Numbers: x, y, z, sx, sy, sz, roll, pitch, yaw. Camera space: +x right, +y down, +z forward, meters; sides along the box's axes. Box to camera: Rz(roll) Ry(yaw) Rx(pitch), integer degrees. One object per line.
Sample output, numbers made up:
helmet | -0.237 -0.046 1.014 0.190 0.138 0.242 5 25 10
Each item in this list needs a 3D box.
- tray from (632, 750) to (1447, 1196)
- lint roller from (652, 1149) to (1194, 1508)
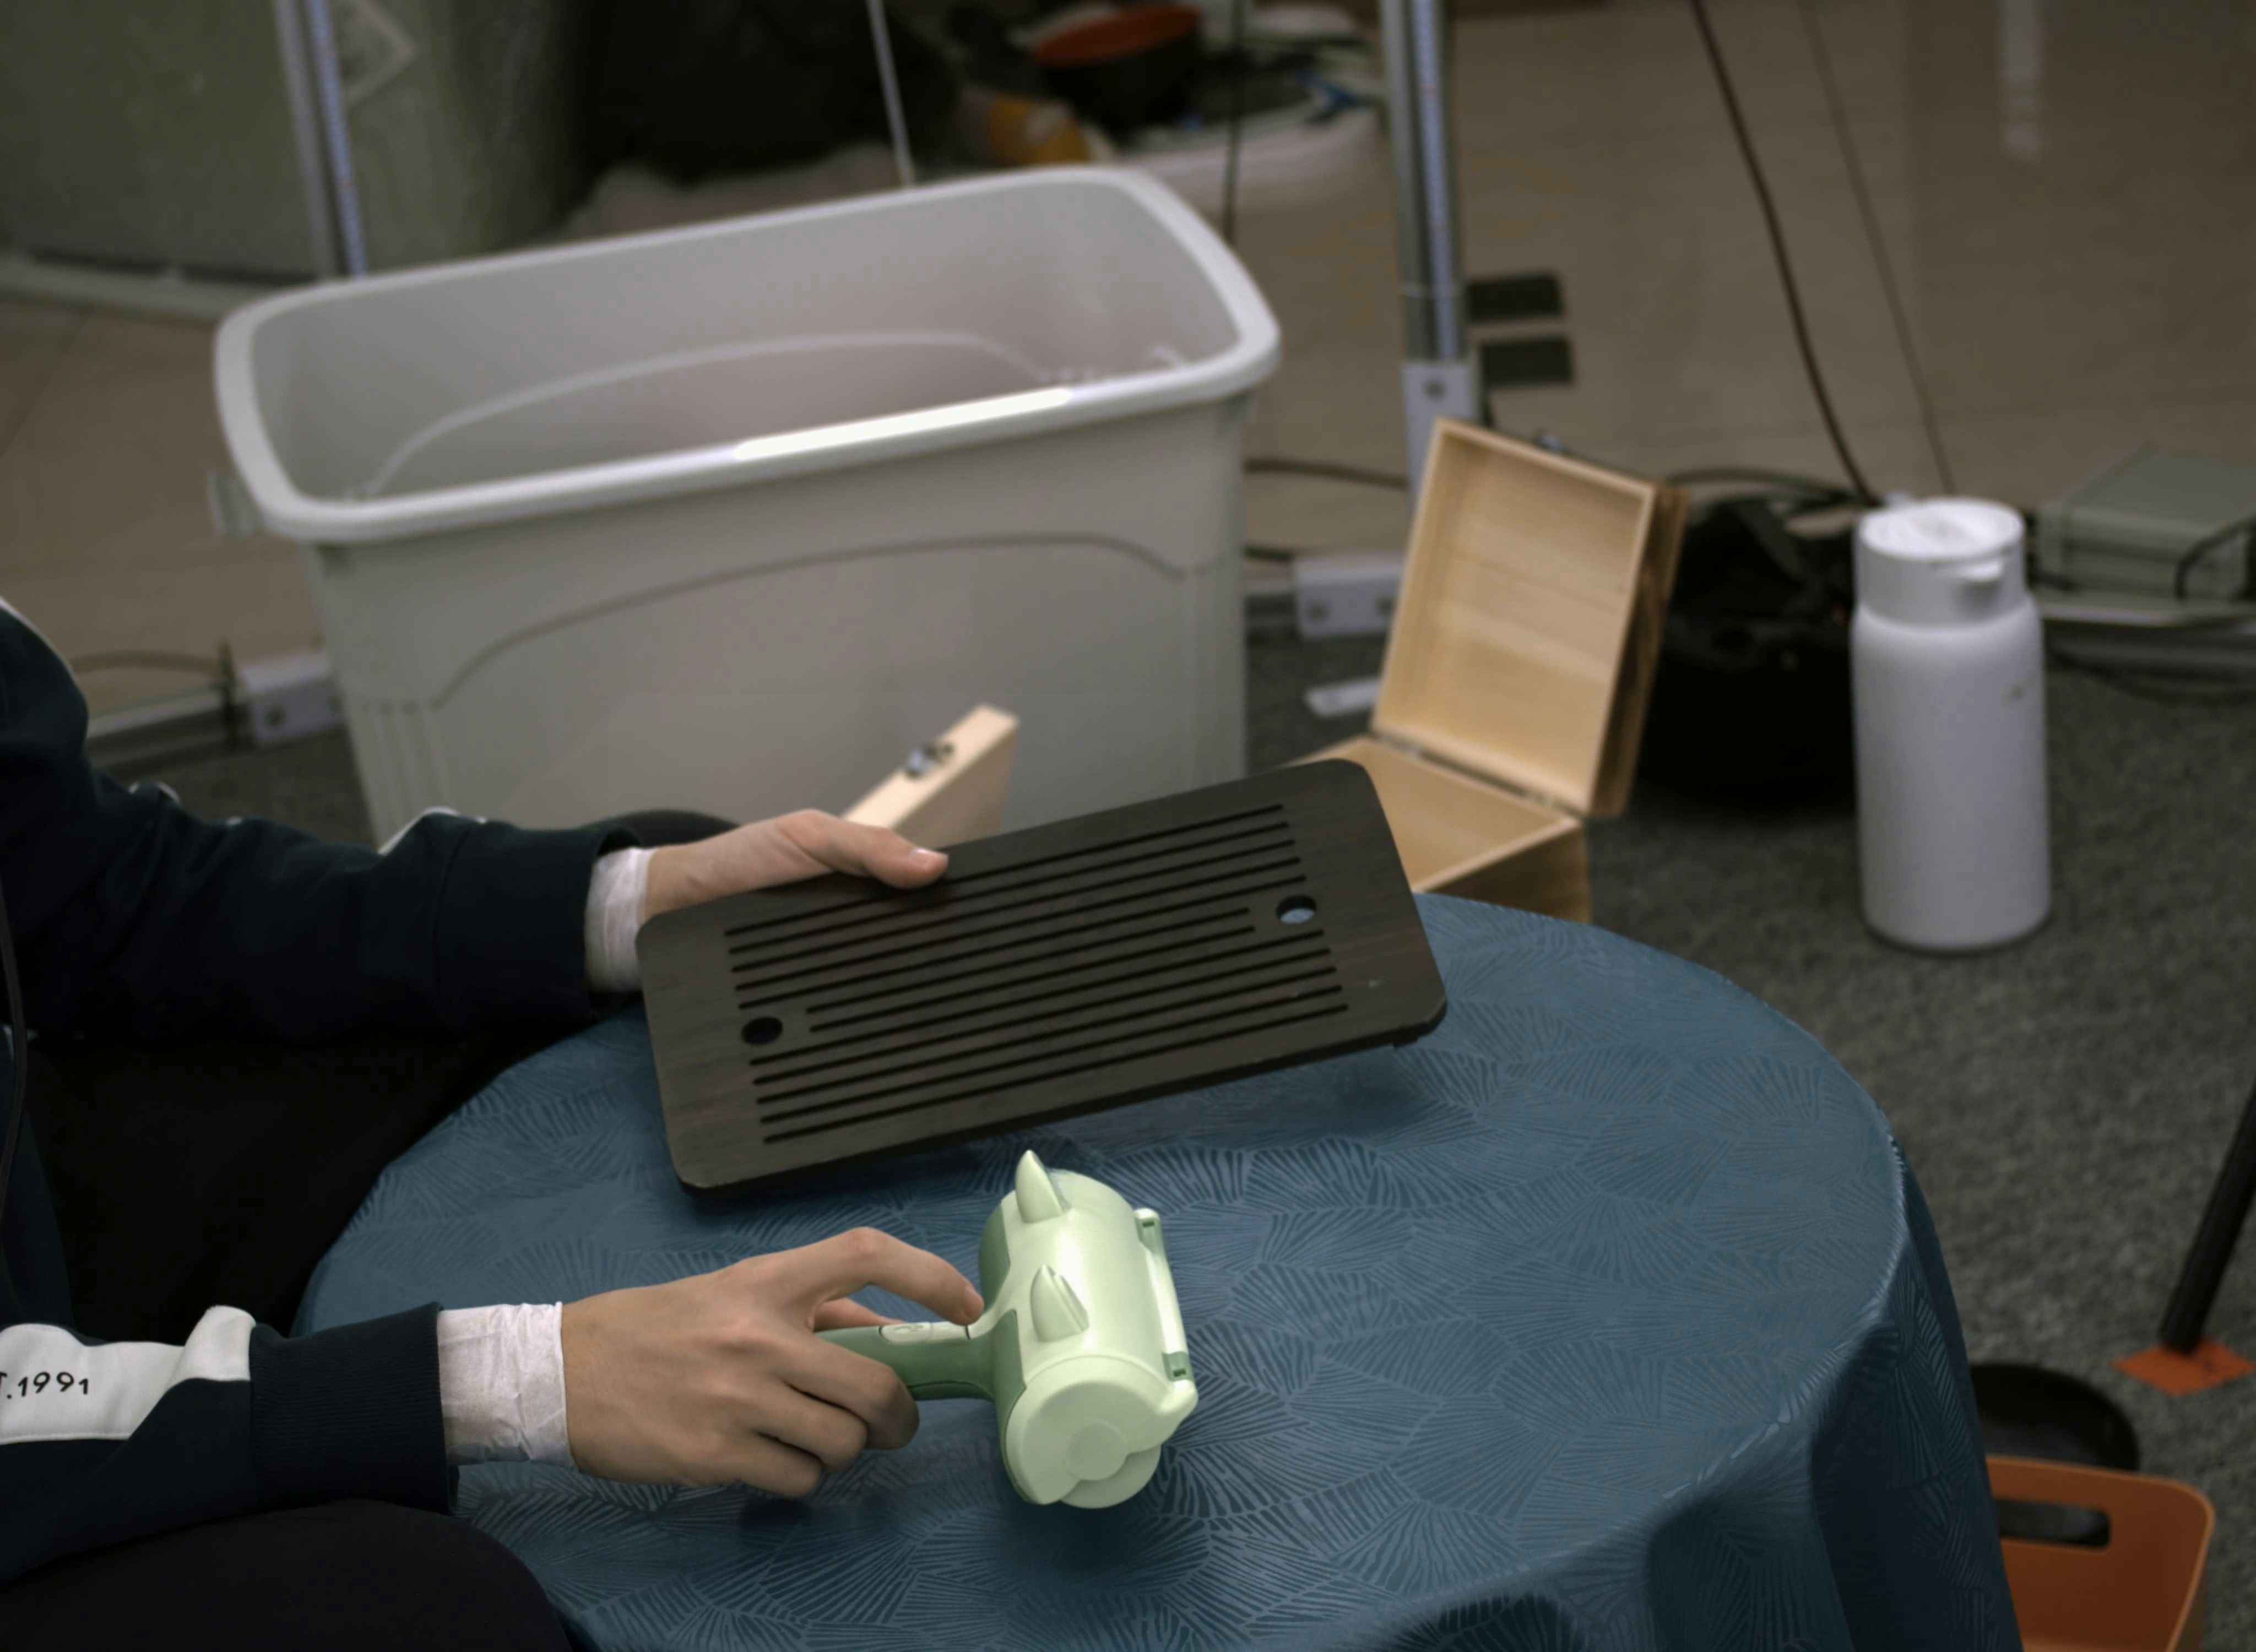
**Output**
tray | -0.038 0.058 2.224 0.305 0.019 0.167 -13 40 -2
lint roller | -0.074 0.171 1.962 0.183 0.083 0.196 -2 17 -3
